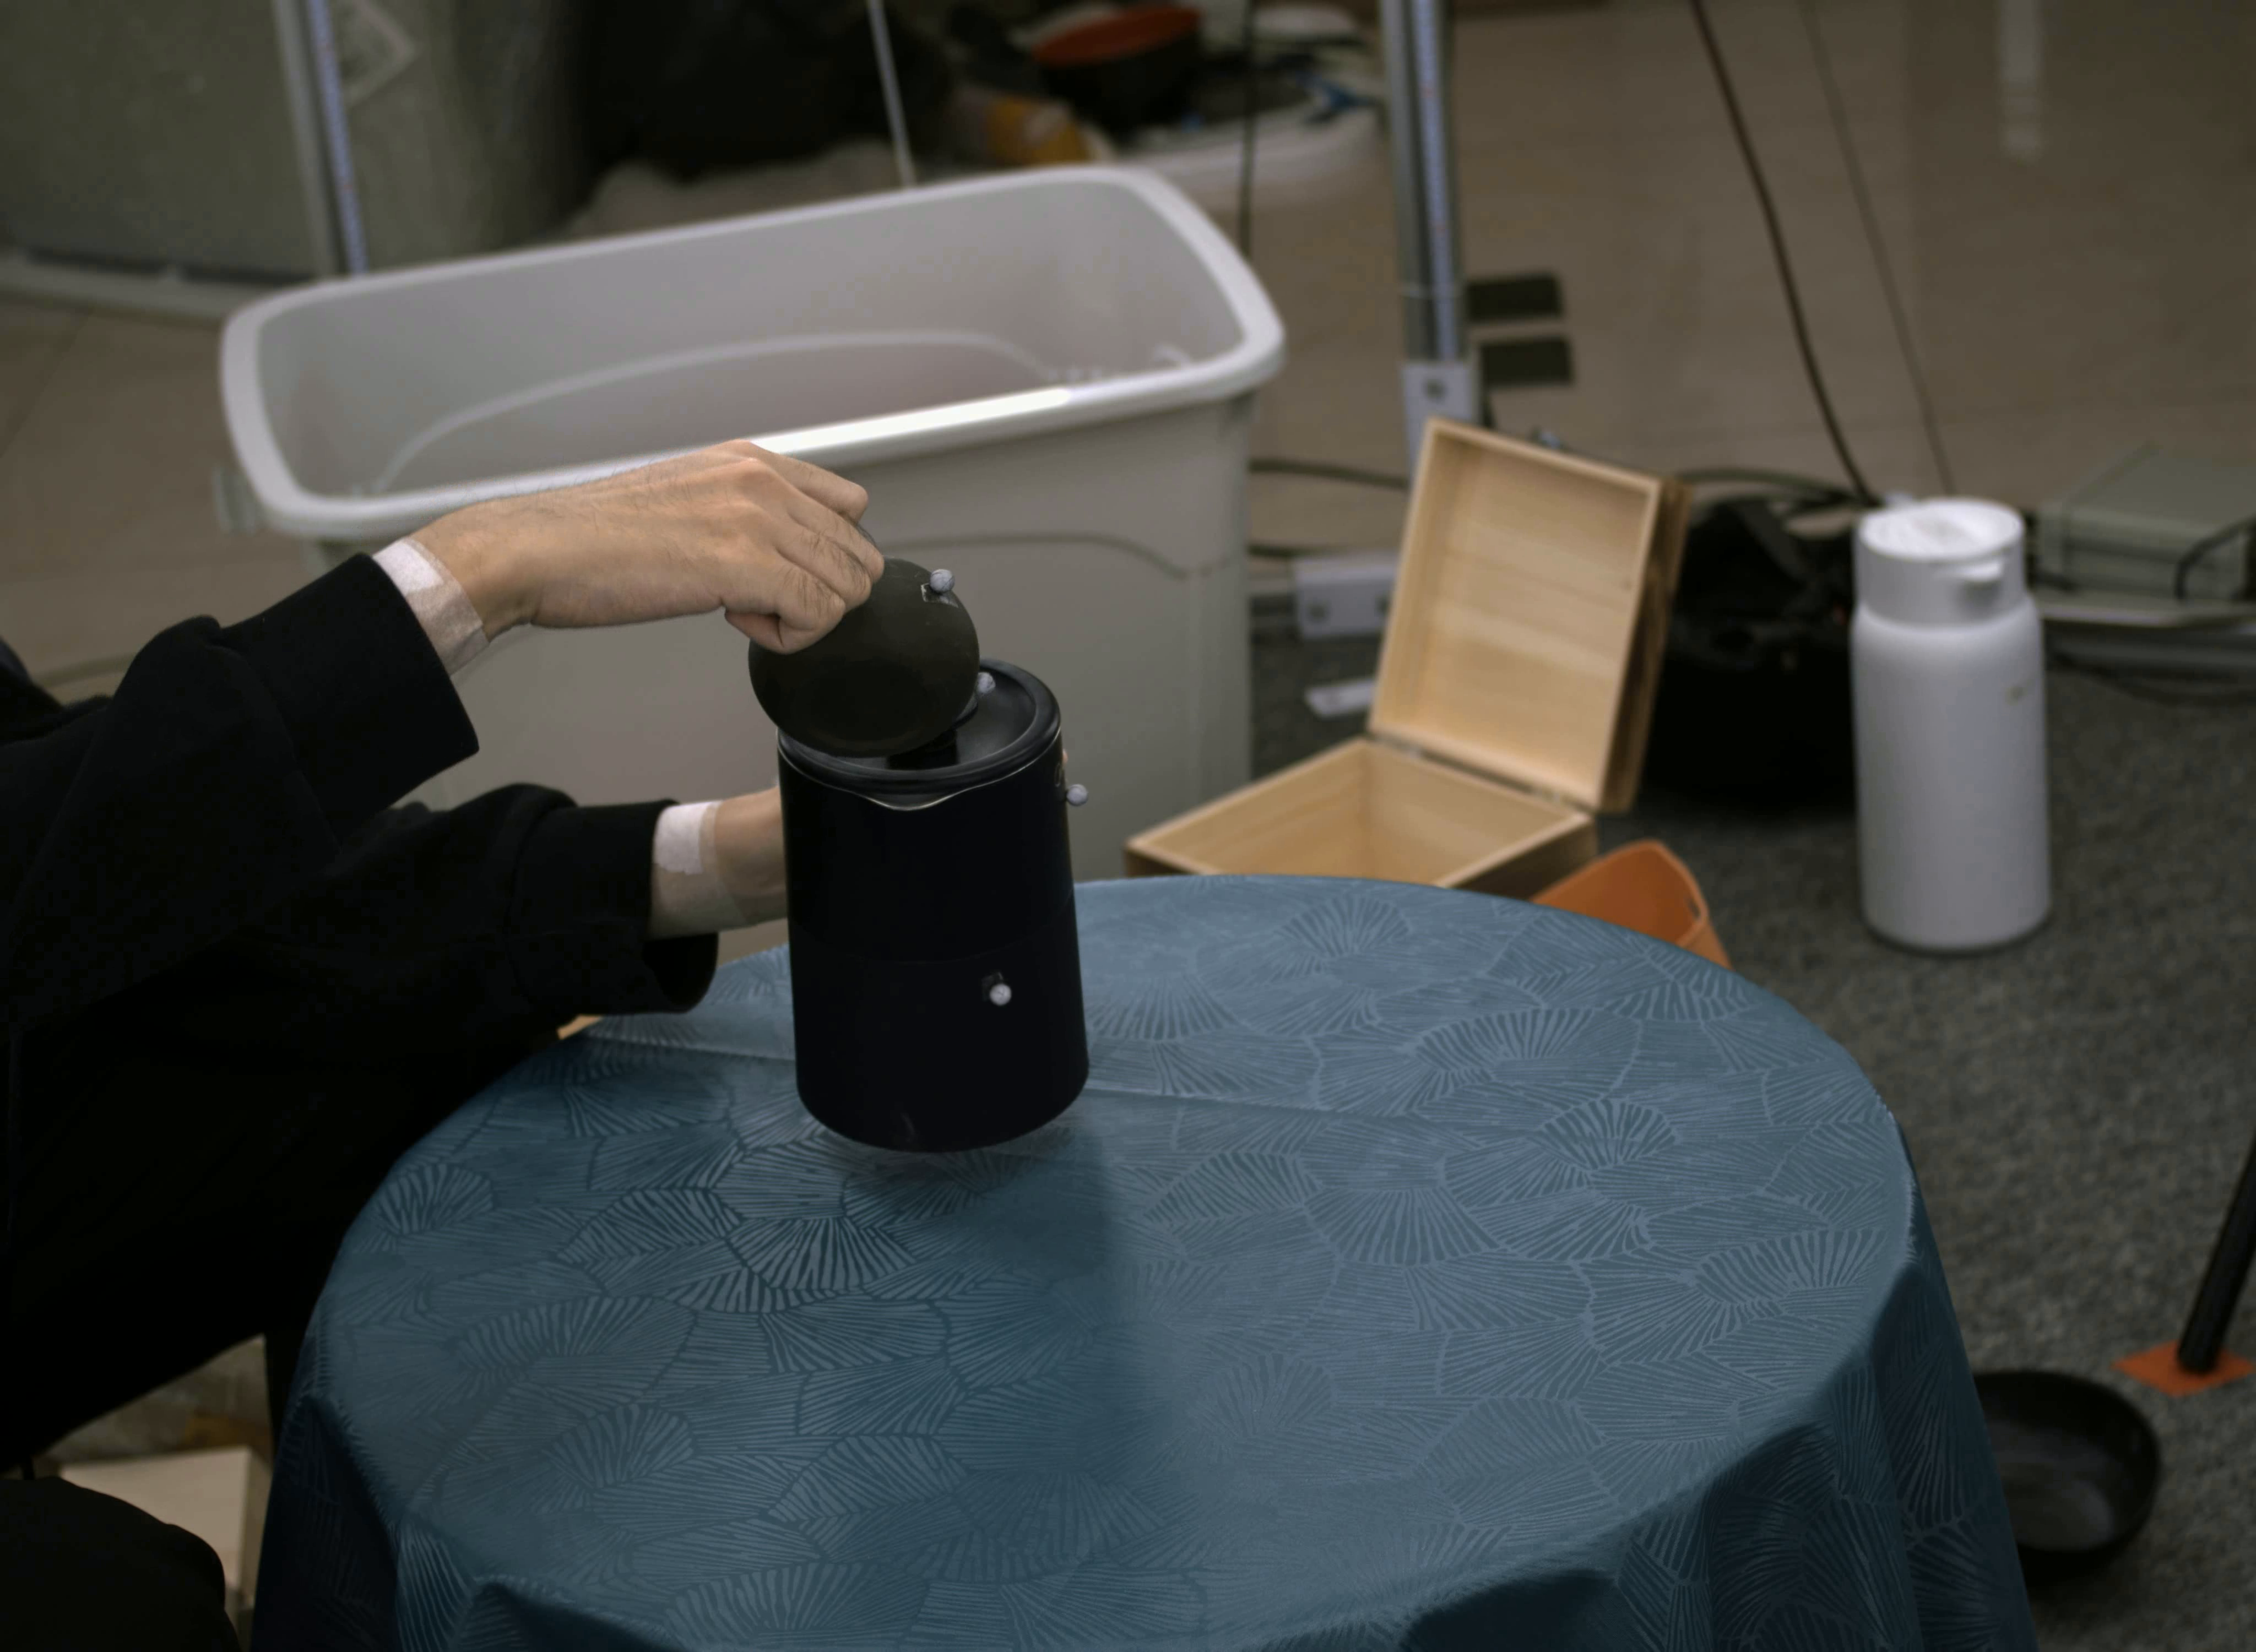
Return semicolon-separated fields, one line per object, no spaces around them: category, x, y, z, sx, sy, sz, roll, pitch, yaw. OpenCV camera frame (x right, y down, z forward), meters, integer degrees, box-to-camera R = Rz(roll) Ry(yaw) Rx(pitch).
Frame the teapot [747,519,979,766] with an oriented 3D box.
teapot;-0.099;-0.067;2.014;0.083;0.116;0.052;-15;48;17

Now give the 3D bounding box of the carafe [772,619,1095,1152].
carafe;-0.076;0.013;2.174;0.114;0.176;0.168;-3;33;3
